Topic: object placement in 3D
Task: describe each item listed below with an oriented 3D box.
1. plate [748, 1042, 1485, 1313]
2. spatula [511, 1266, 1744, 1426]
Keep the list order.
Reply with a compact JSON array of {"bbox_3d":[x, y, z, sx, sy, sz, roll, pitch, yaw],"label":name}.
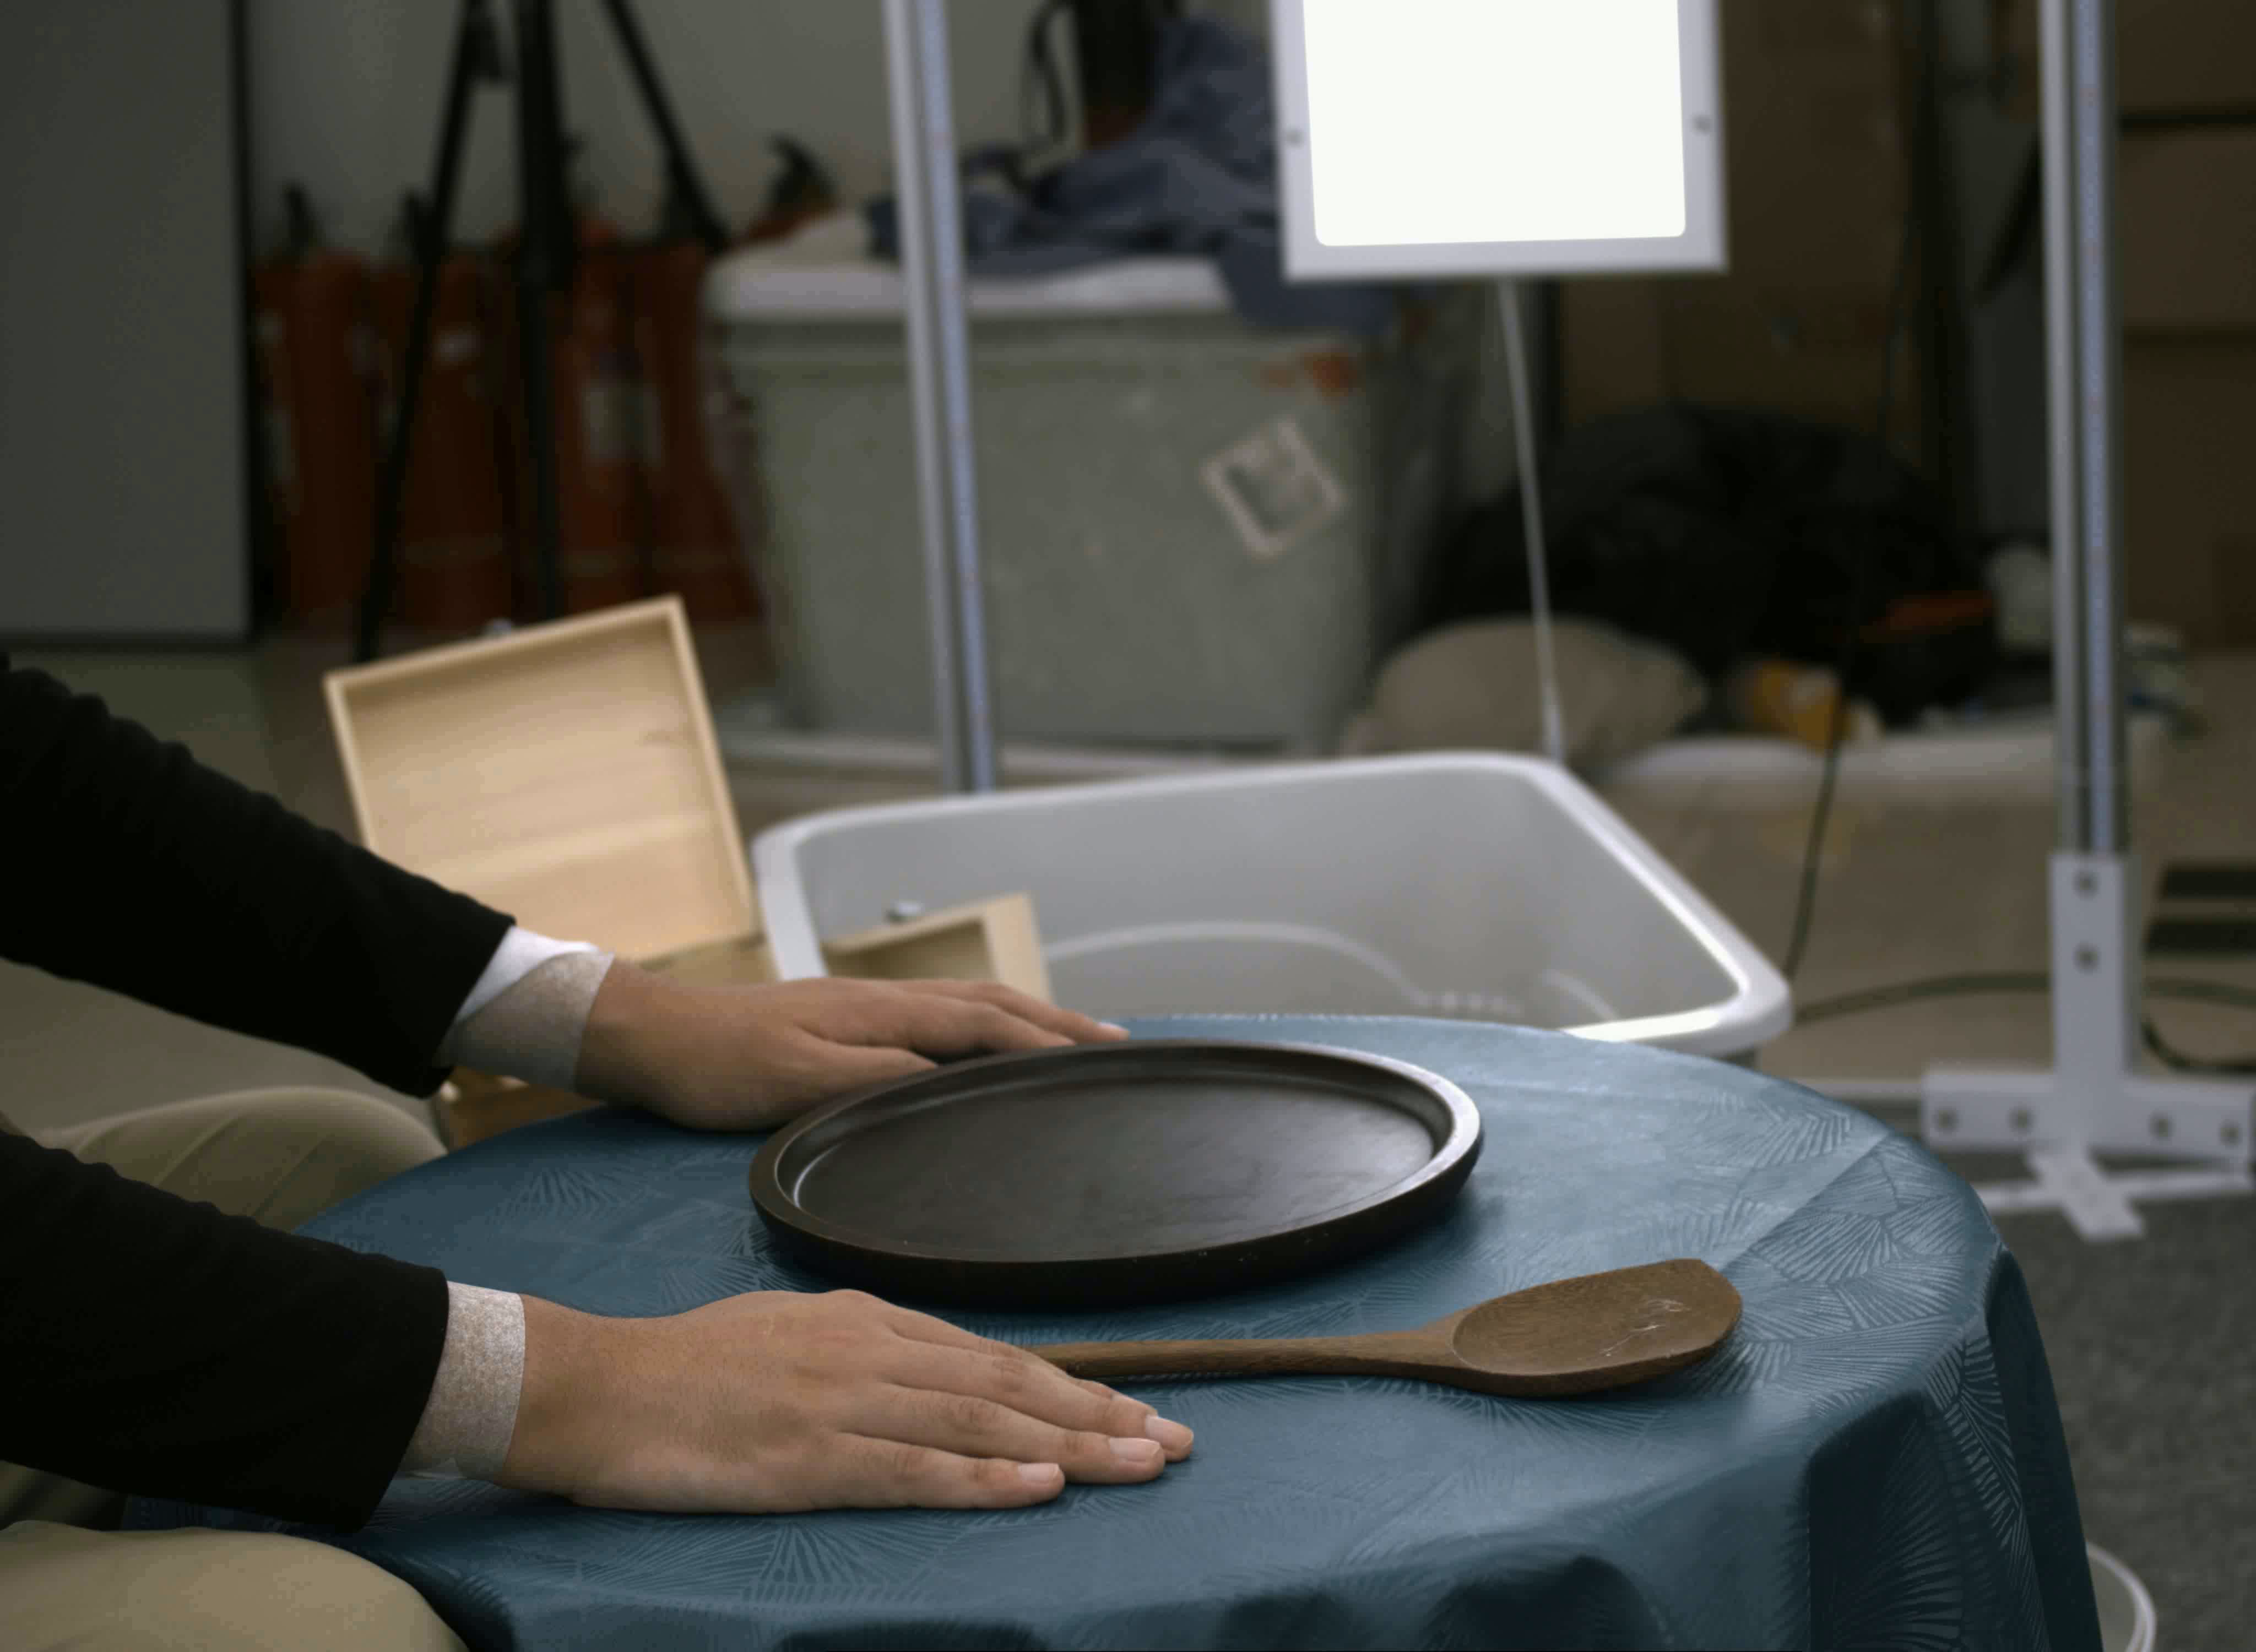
[{"bbox_3d":[-0.004,0.117,1.886,0.254,0.029,0.254,-6,15,0],"label":"plate"},{"bbox_3d":[-0.002,0.166,1.709,0.387,0.016,0.095,-4,13,6],"label":"spatula"}]
